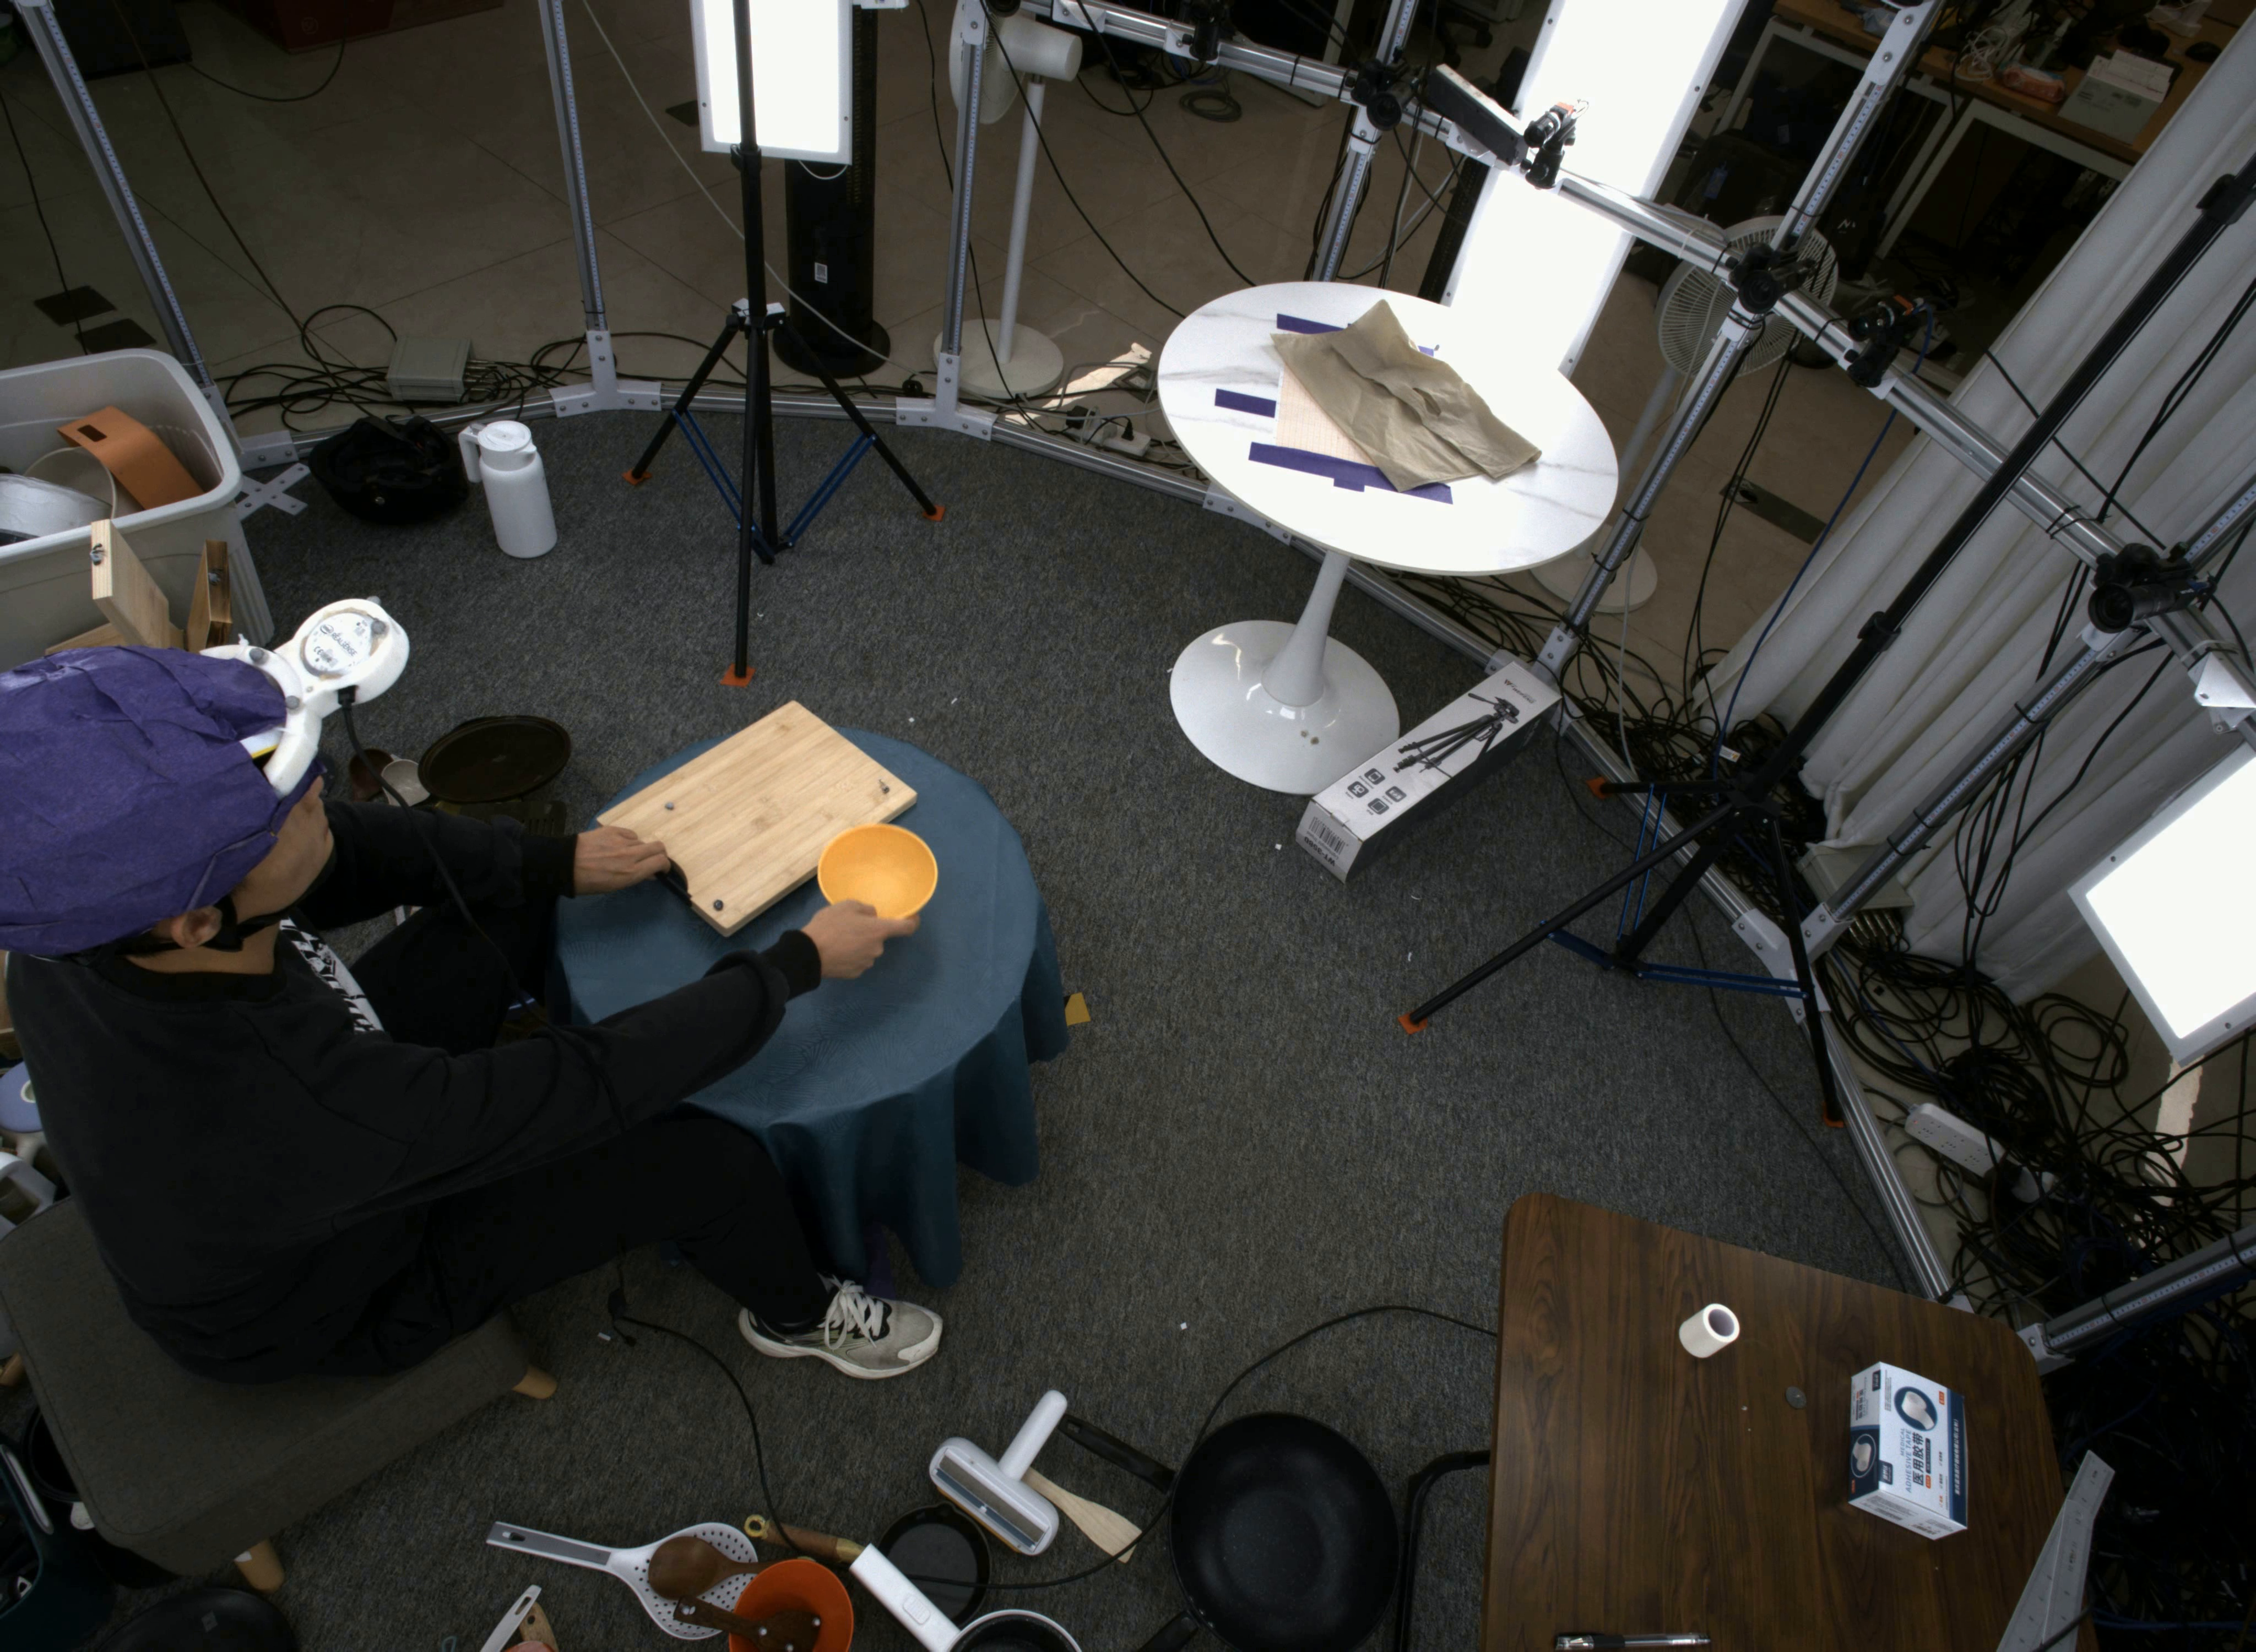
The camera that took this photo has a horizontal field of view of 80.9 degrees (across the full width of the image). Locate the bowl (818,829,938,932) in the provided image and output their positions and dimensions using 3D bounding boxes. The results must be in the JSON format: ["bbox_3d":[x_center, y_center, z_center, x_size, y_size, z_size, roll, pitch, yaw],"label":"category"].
[{"bbox_3d":[-0.307,0.077,1.608,0.144,0.061,0.143,6,54,-6],"label":"bowl"}]

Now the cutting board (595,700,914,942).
[{"bbox_3d":[-0.483,-0.019,1.697,0.246,0.024,0.348,35,48,13],"label":"cutting board"}]
